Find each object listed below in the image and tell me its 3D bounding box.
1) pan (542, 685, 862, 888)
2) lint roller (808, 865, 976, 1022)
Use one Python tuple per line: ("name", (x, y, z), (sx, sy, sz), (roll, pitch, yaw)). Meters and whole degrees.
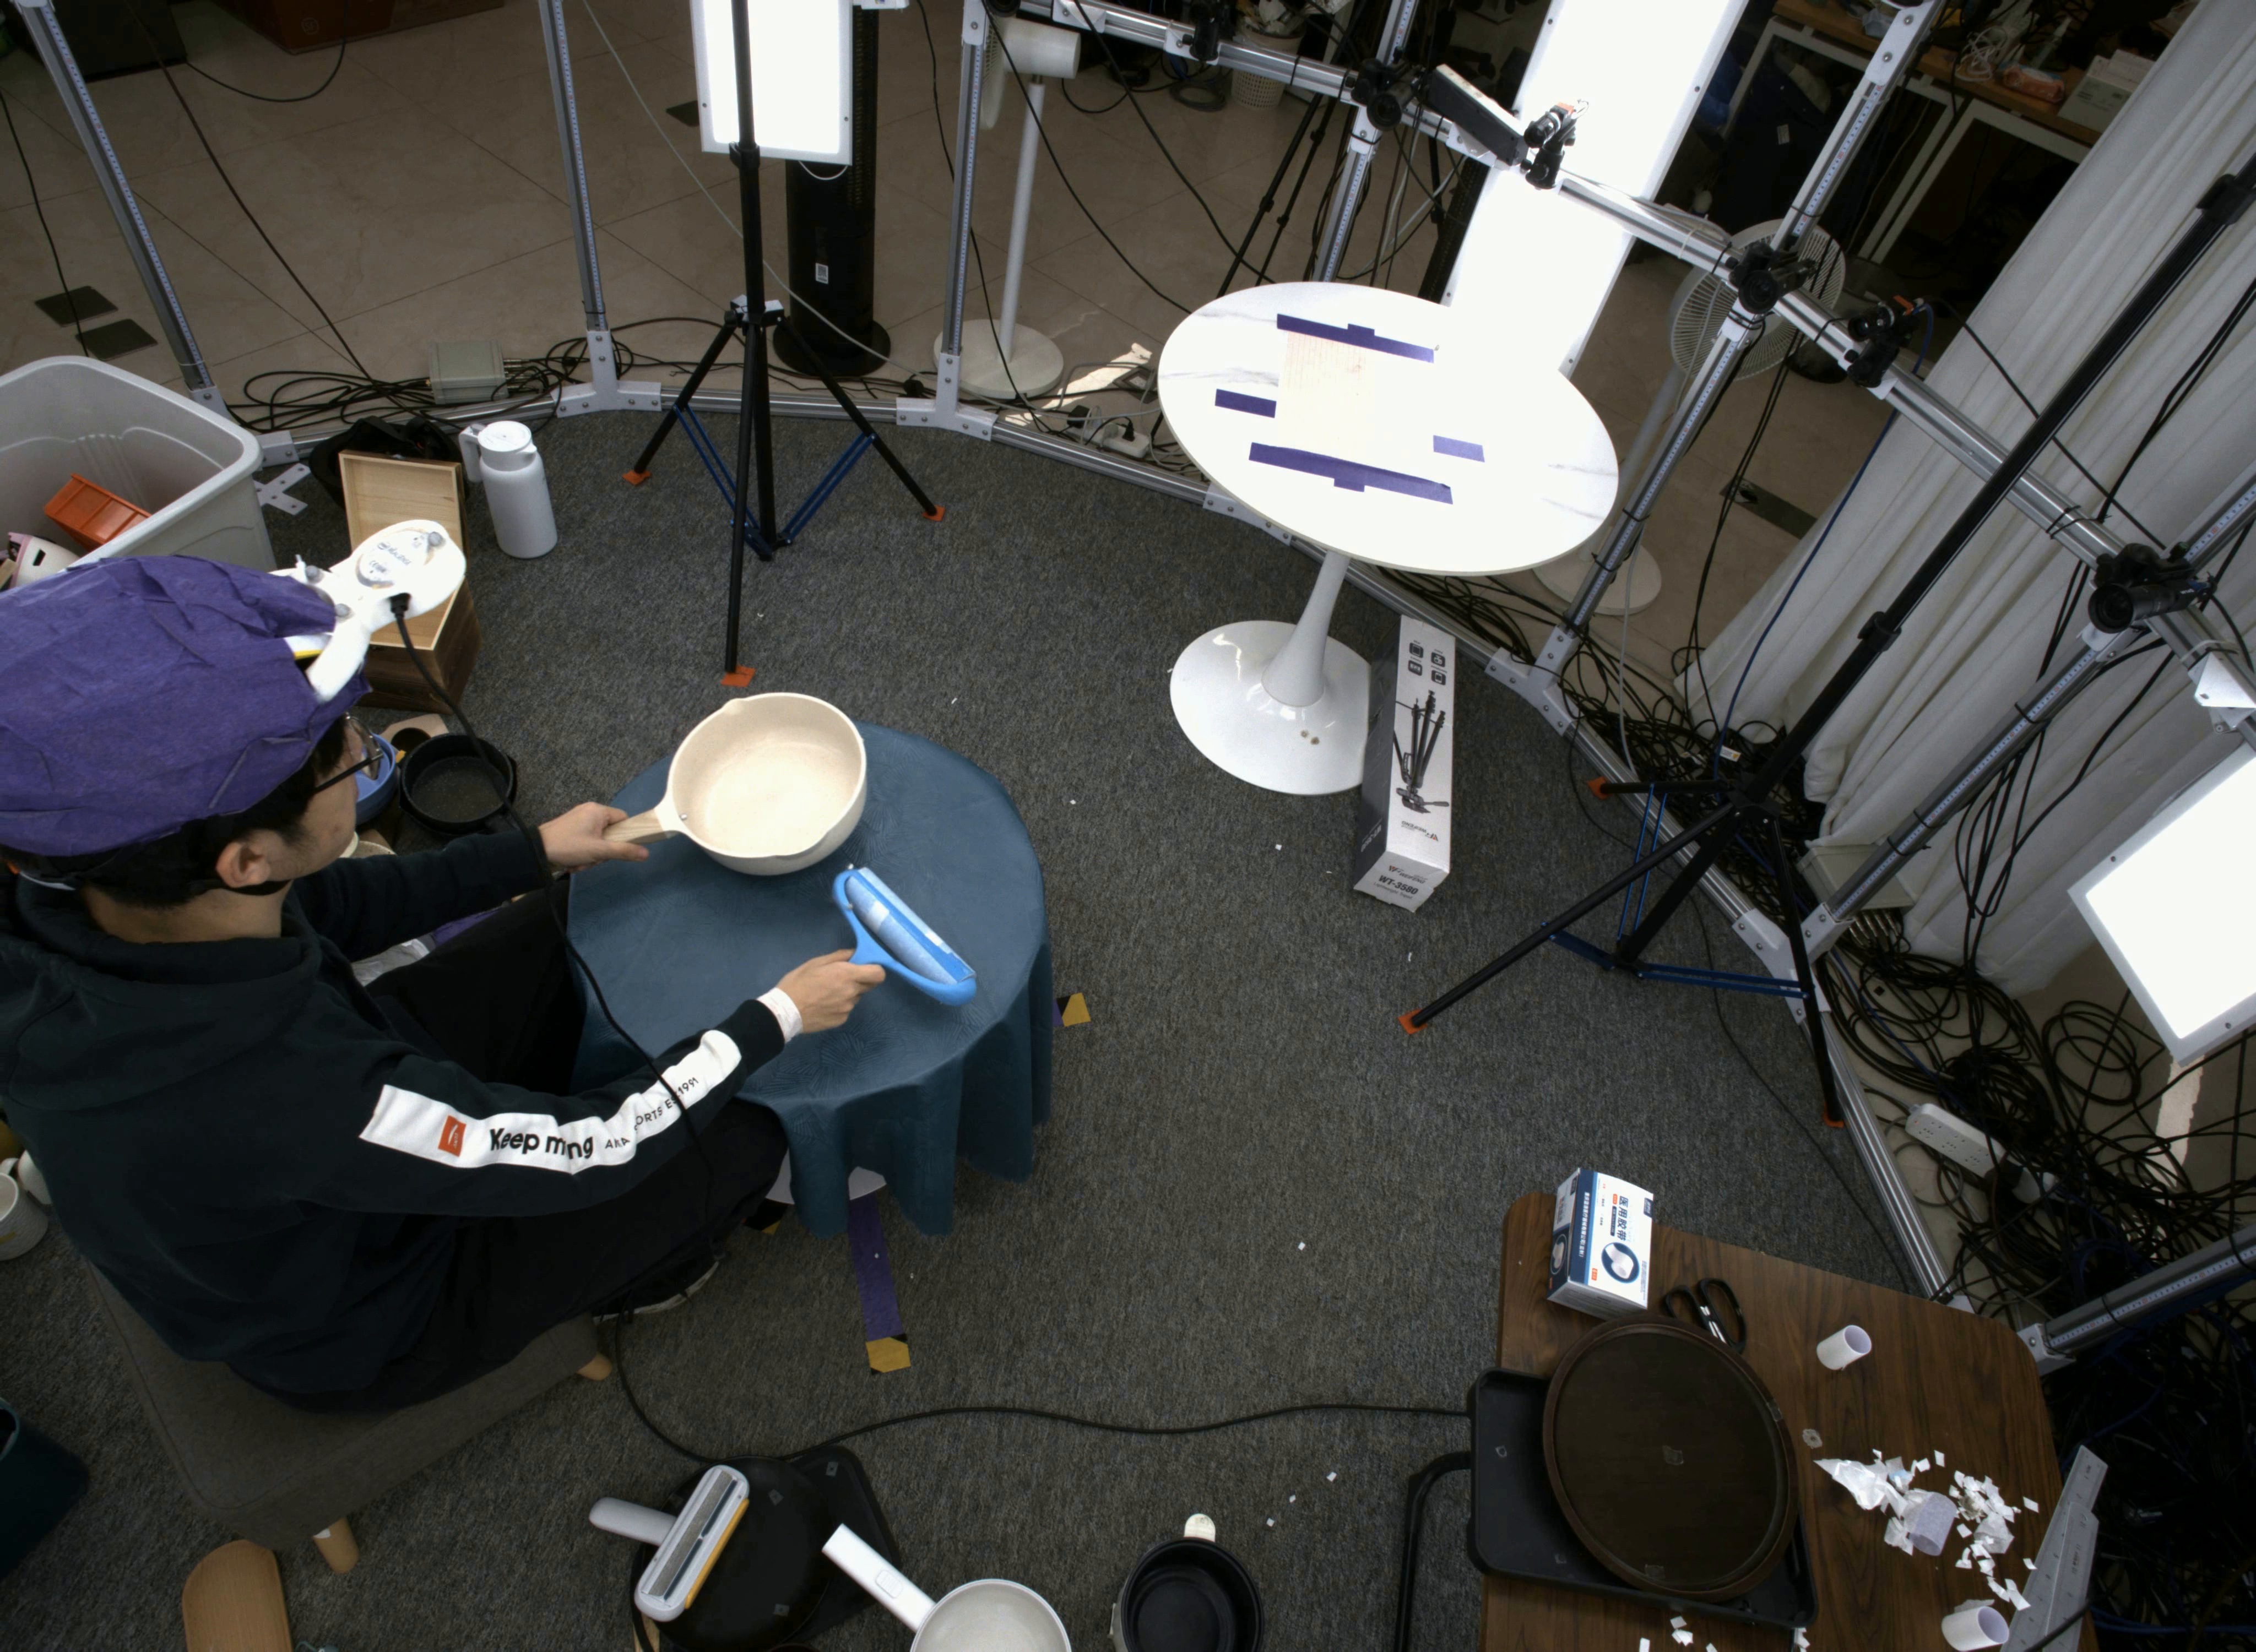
("pan", (-0.540, -0.017, 1.632), (0.434, 0.104, 0.257), (-28, 65, -15))
("lint roller", (-0.309, 0.161, 1.553), (0.226, 0.069, 0.180), (41, 57, 9))
